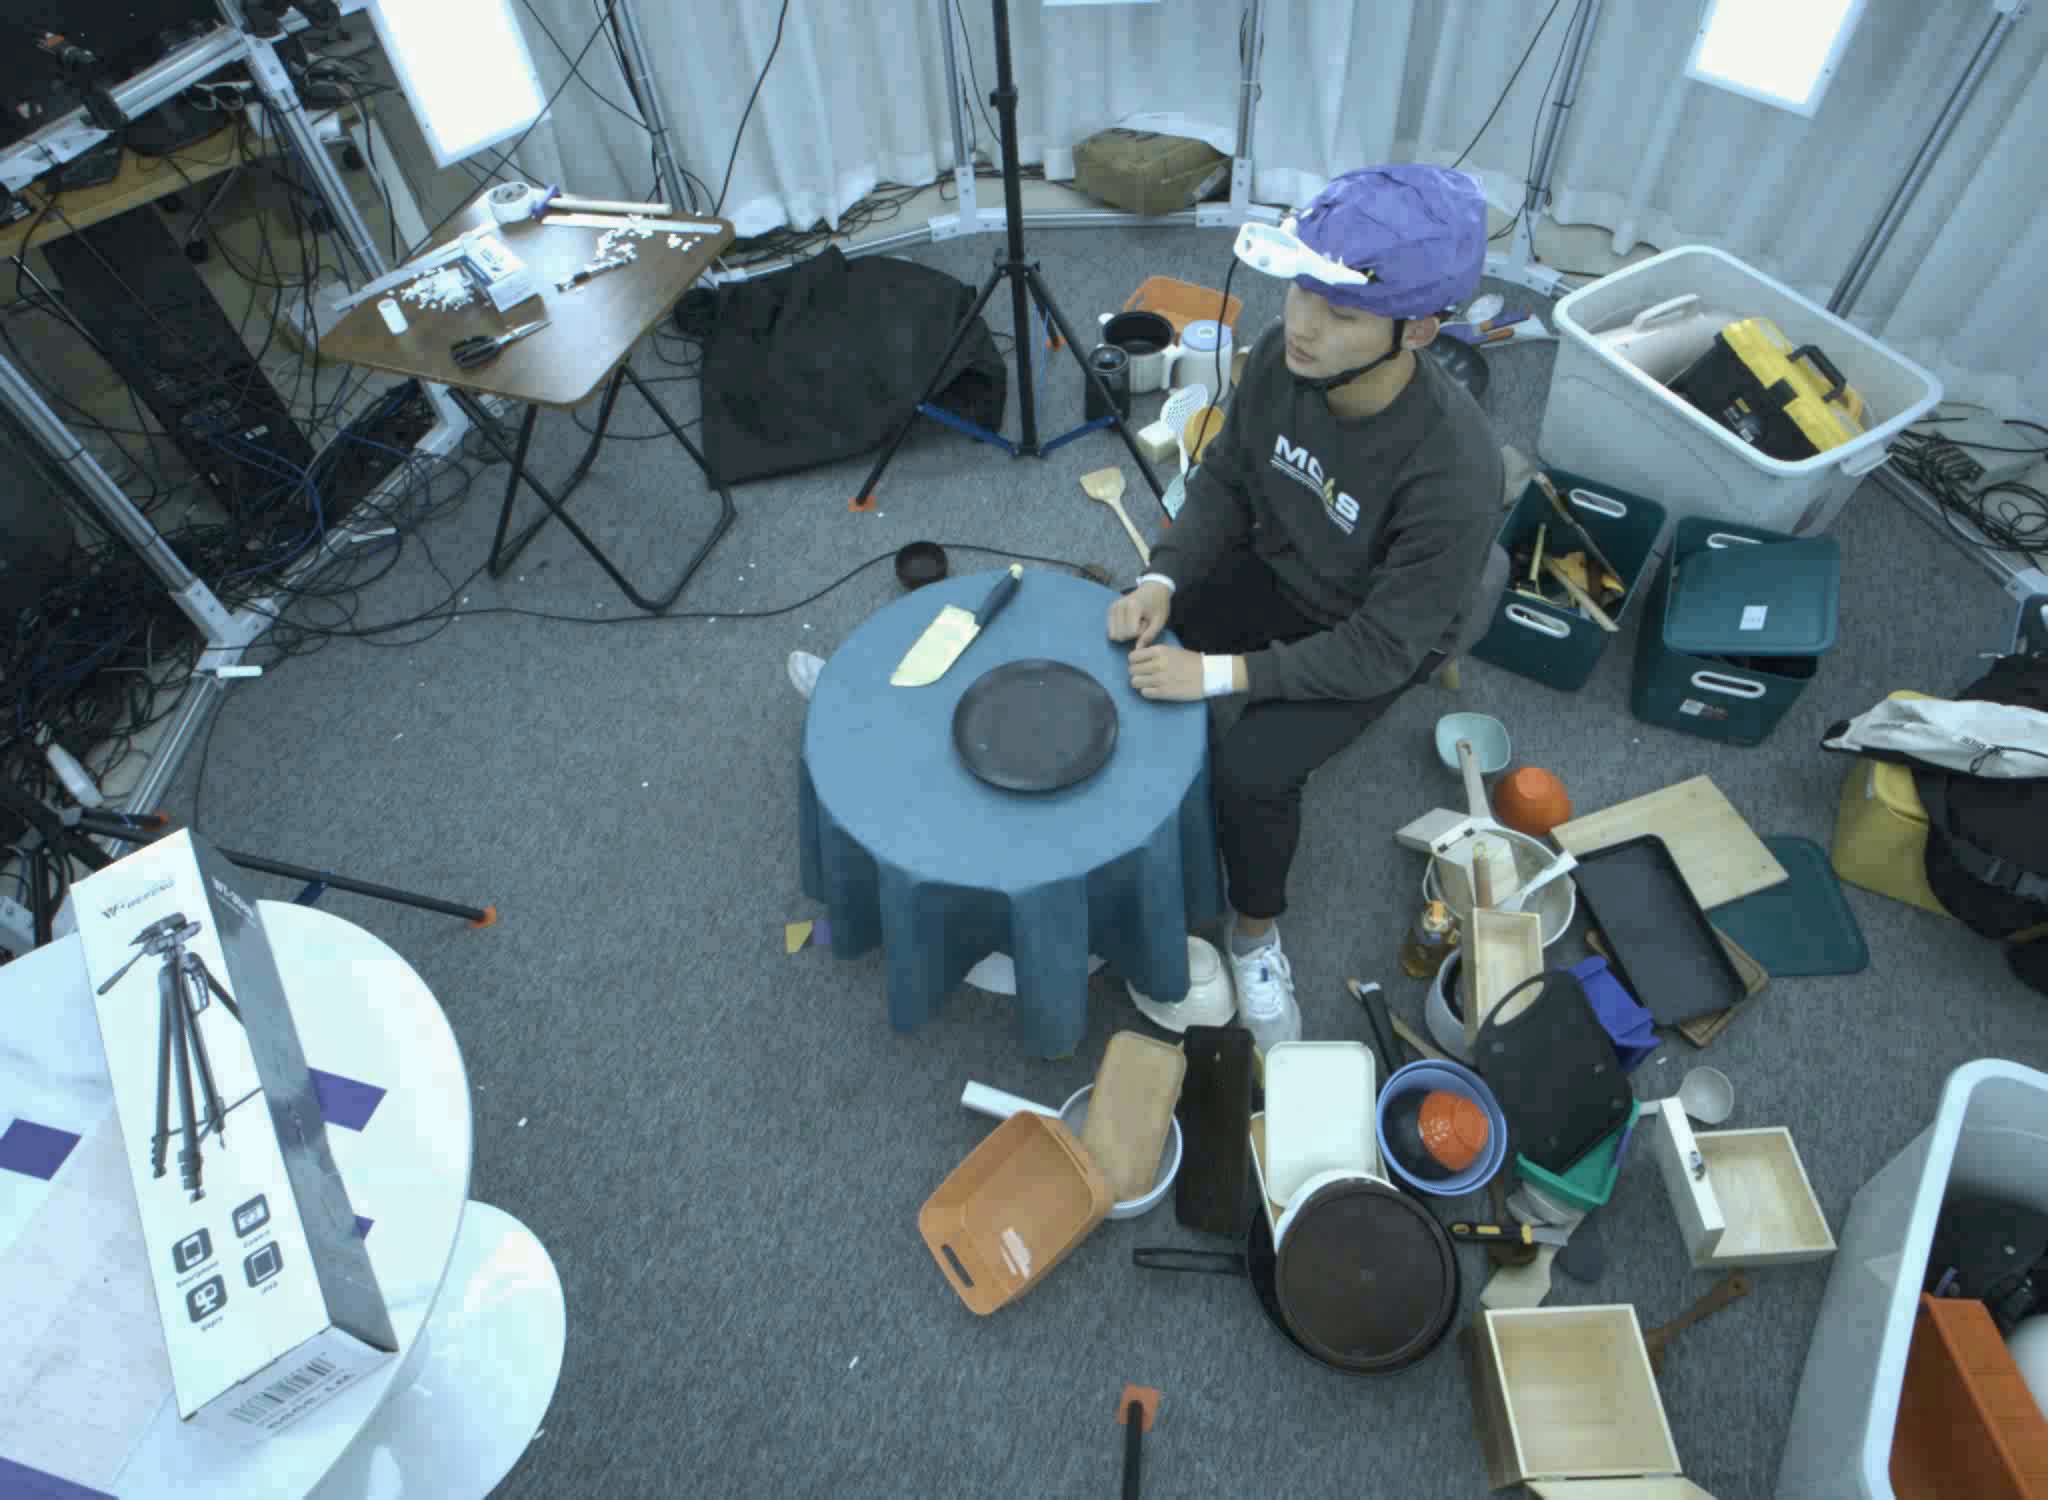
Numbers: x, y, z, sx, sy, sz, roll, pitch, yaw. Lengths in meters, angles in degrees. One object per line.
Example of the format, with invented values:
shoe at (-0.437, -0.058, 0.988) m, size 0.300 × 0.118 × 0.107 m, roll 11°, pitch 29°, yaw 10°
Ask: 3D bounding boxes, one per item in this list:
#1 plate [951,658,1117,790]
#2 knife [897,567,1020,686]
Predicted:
plate at (0.014, -0.036, 1.806) m, size 0.244 × 0.023 × 0.242 m, roll 0°, pitch 54°, yaw 1°
knife at (-0.103, -0.197, 1.930) m, size 0.080 × 0.027 × 0.291 m, roll 30°, pitch 61°, yaw 19°
